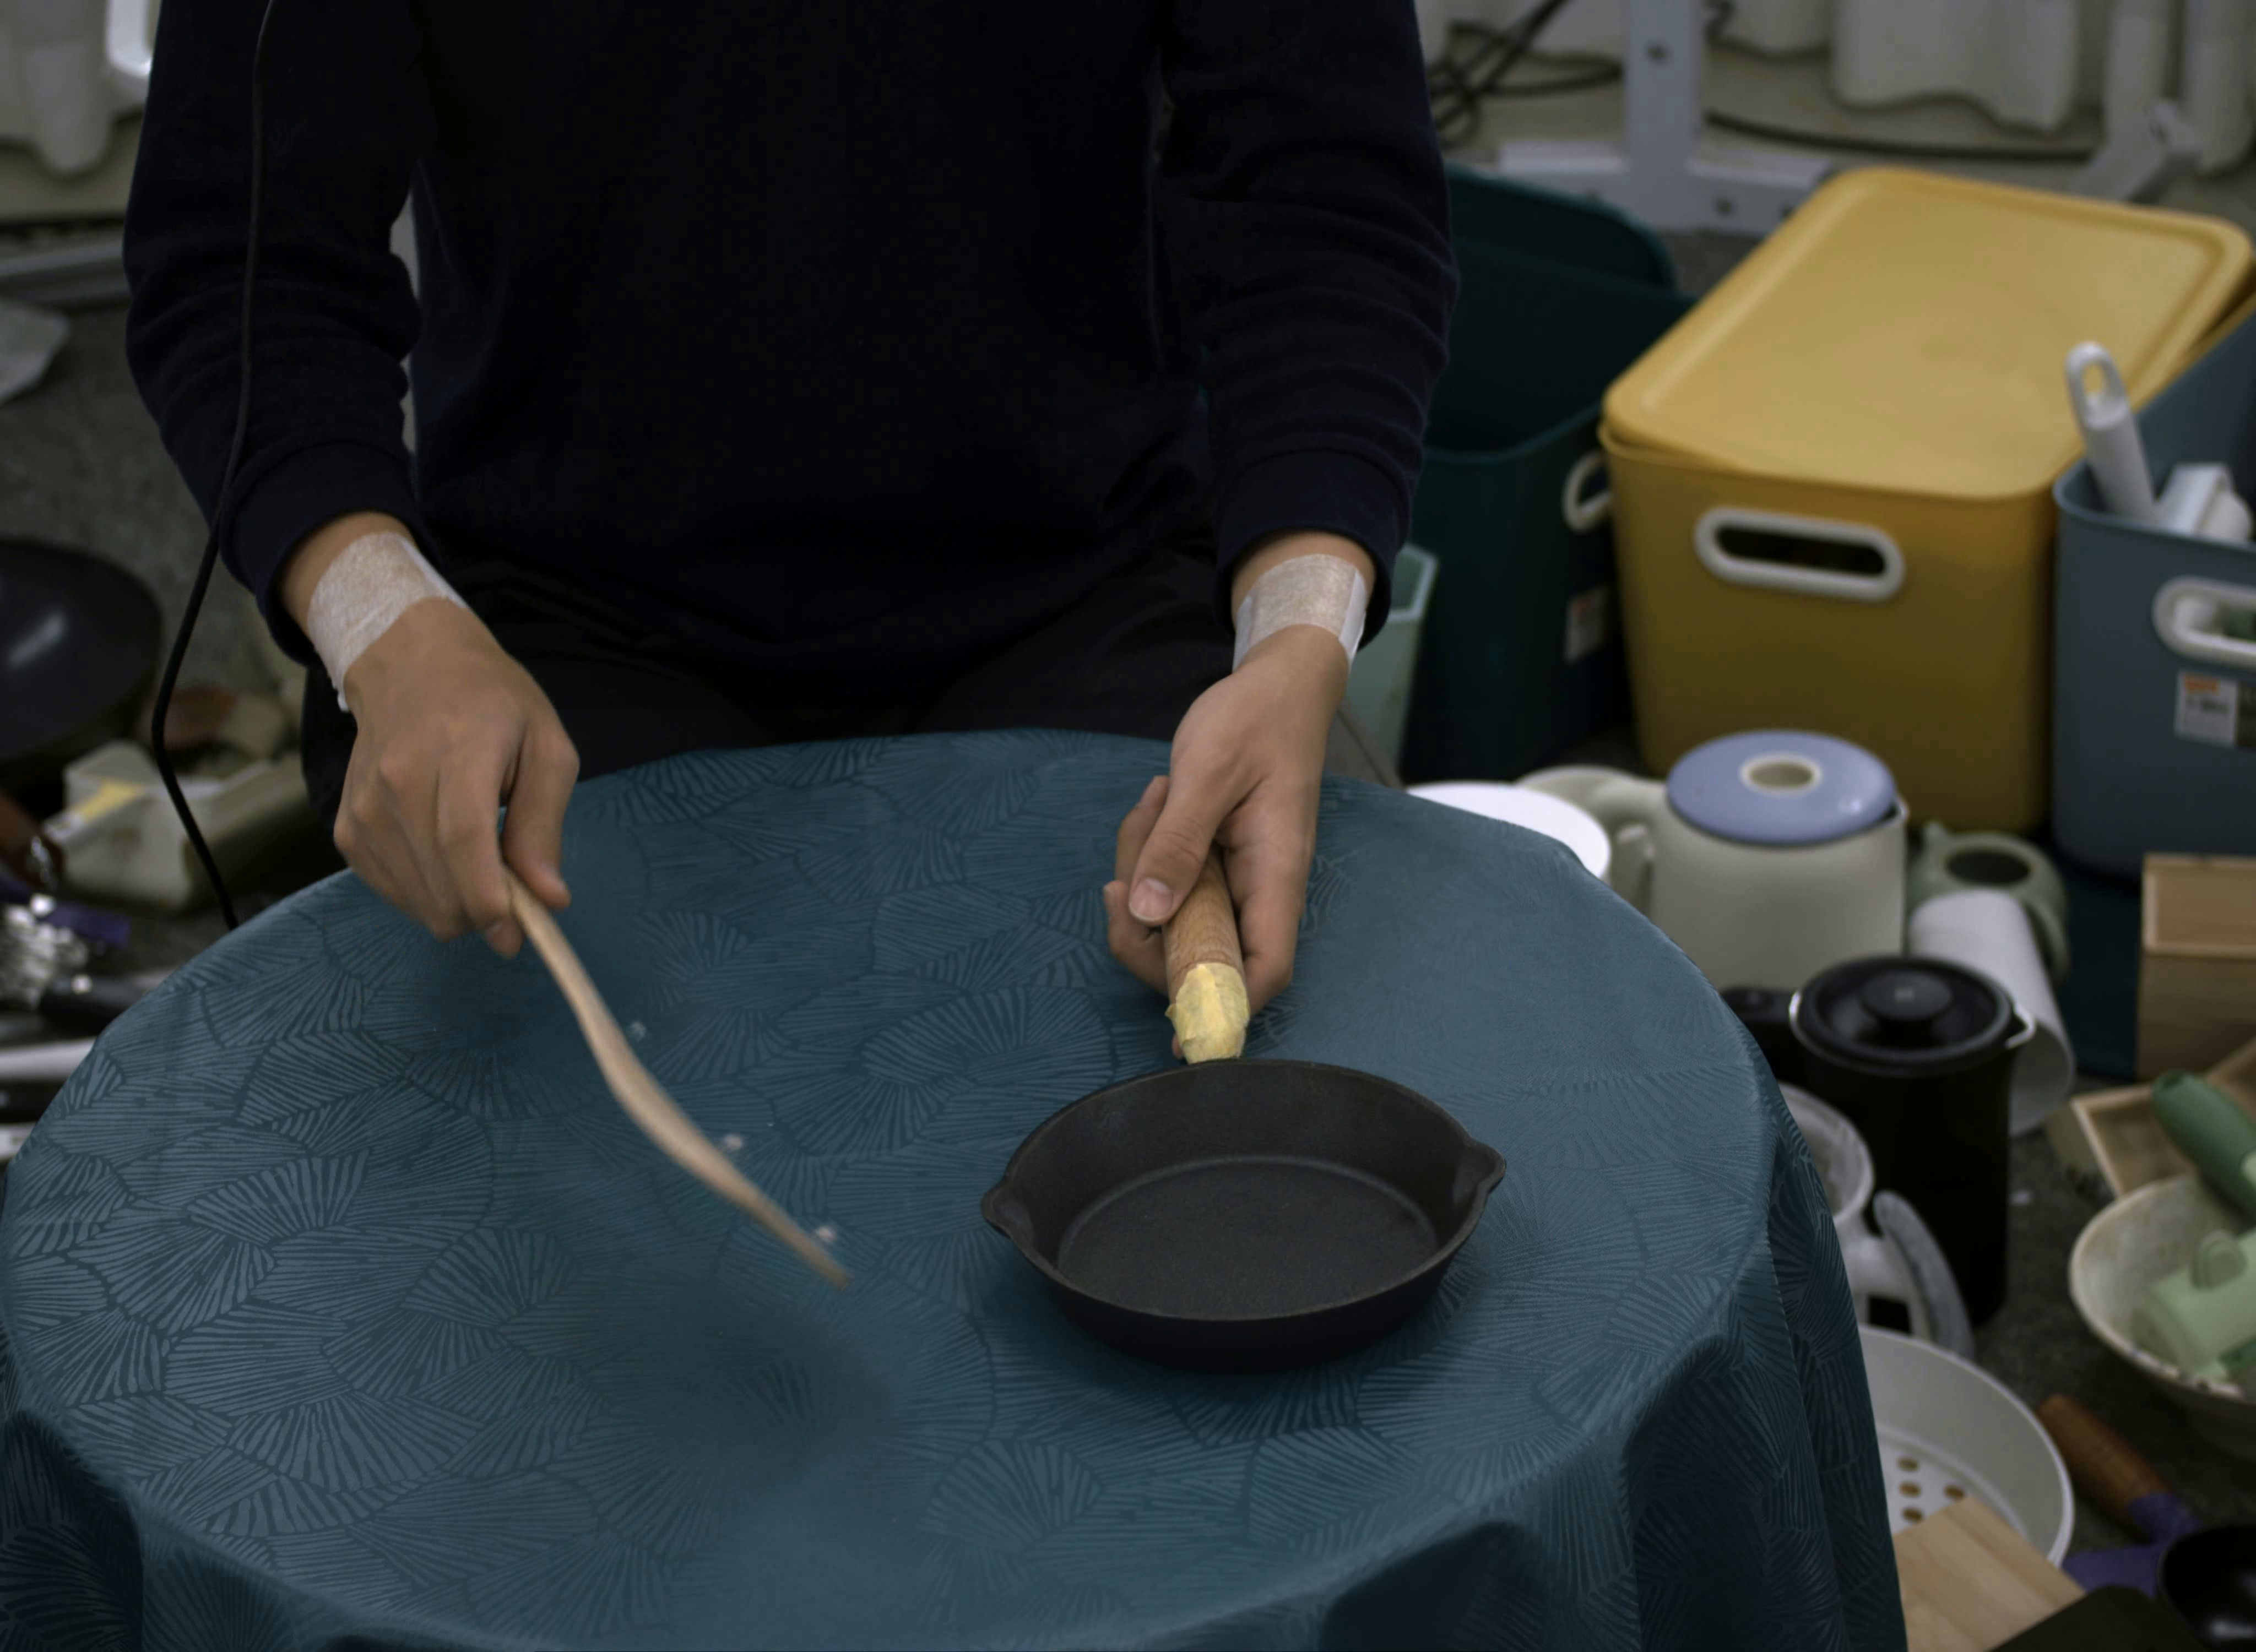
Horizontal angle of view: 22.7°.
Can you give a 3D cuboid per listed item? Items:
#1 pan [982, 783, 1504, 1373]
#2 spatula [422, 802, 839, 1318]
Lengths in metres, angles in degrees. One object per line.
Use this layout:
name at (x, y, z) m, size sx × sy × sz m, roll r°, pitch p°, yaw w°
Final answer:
pan at (0.033, 0.081, 1.882) m, size 0.168 × 0.049 × 0.329 m, roll -4°, pitch 29°, yaw -1°
spatula at (-0.173, 0.068, 1.842) m, size 0.016 × 0.079 × 0.330 m, roll -44°, pitch 36°, yaw 2°
